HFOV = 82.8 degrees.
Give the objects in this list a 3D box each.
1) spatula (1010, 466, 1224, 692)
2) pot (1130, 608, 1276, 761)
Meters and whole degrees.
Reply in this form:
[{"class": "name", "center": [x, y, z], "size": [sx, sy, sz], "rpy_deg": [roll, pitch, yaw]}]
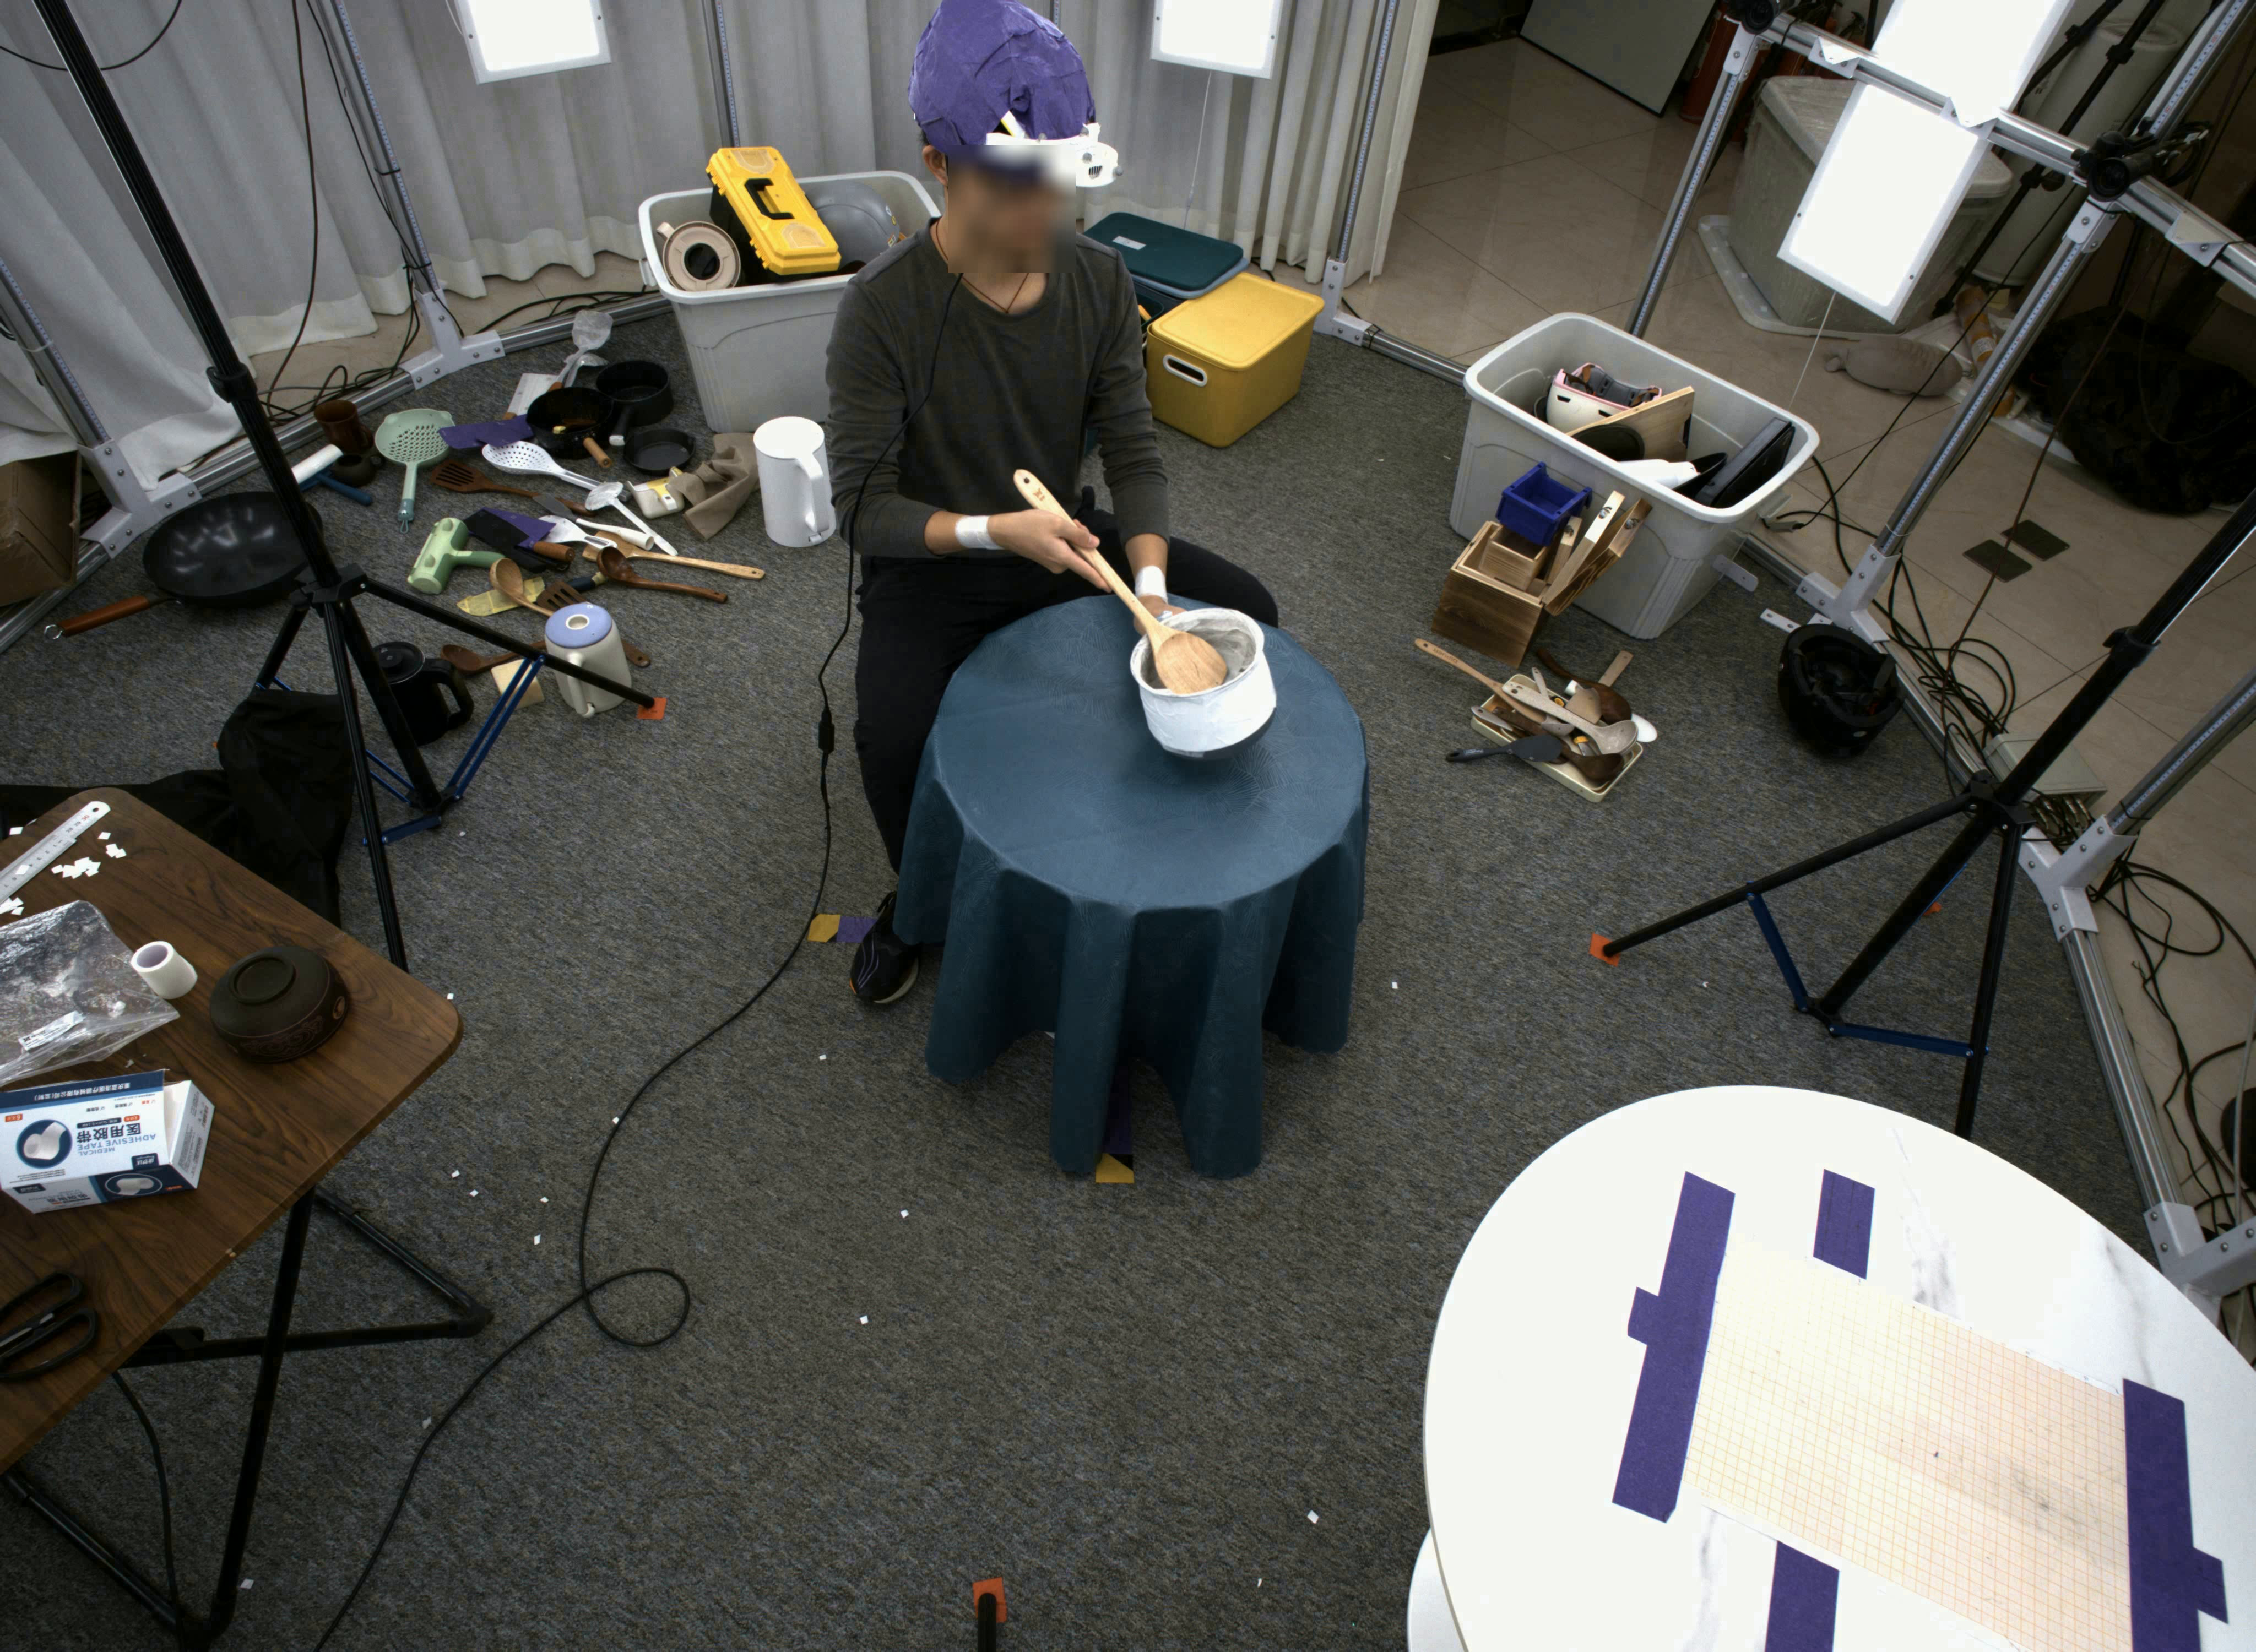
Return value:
[{"class": "spatula", "center": [-0.022, -0.317, 1.690], "size": [0.389, 0.018, 0.097], "rpy_deg": [48, 67, -6]}, {"class": "pot", "center": [0.091, -0.199, 1.716], "size": [0.179, 0.133, 0.239], "rpy_deg": [-26, 43, -8]}]
